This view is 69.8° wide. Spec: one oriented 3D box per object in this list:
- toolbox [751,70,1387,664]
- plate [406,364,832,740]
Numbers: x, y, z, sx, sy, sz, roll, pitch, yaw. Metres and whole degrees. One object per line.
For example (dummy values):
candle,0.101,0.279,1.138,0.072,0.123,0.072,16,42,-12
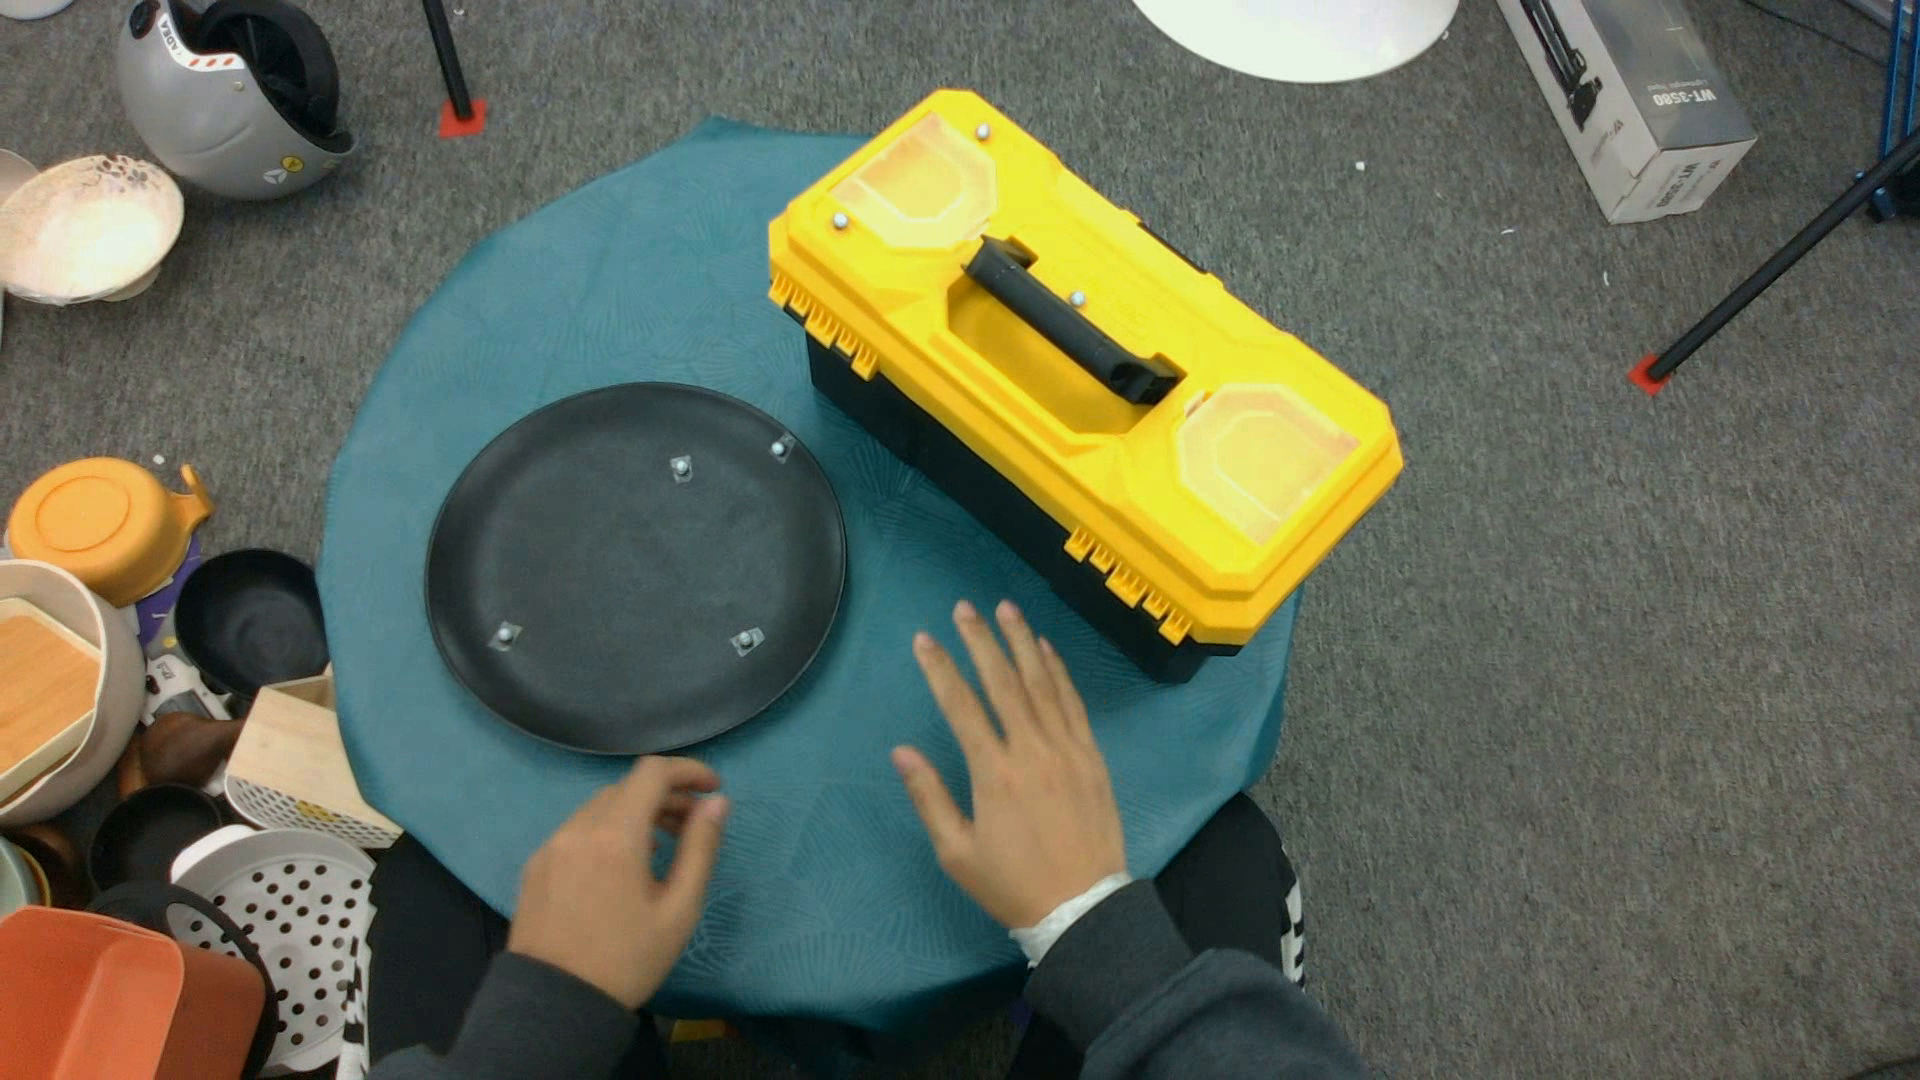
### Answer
toolbox,0.053,-0.096,0.803,0.351,0.172,0.182,41,68,14
plate,-0.198,0.004,0.817,0.244,0.023,0.245,2,64,-4
